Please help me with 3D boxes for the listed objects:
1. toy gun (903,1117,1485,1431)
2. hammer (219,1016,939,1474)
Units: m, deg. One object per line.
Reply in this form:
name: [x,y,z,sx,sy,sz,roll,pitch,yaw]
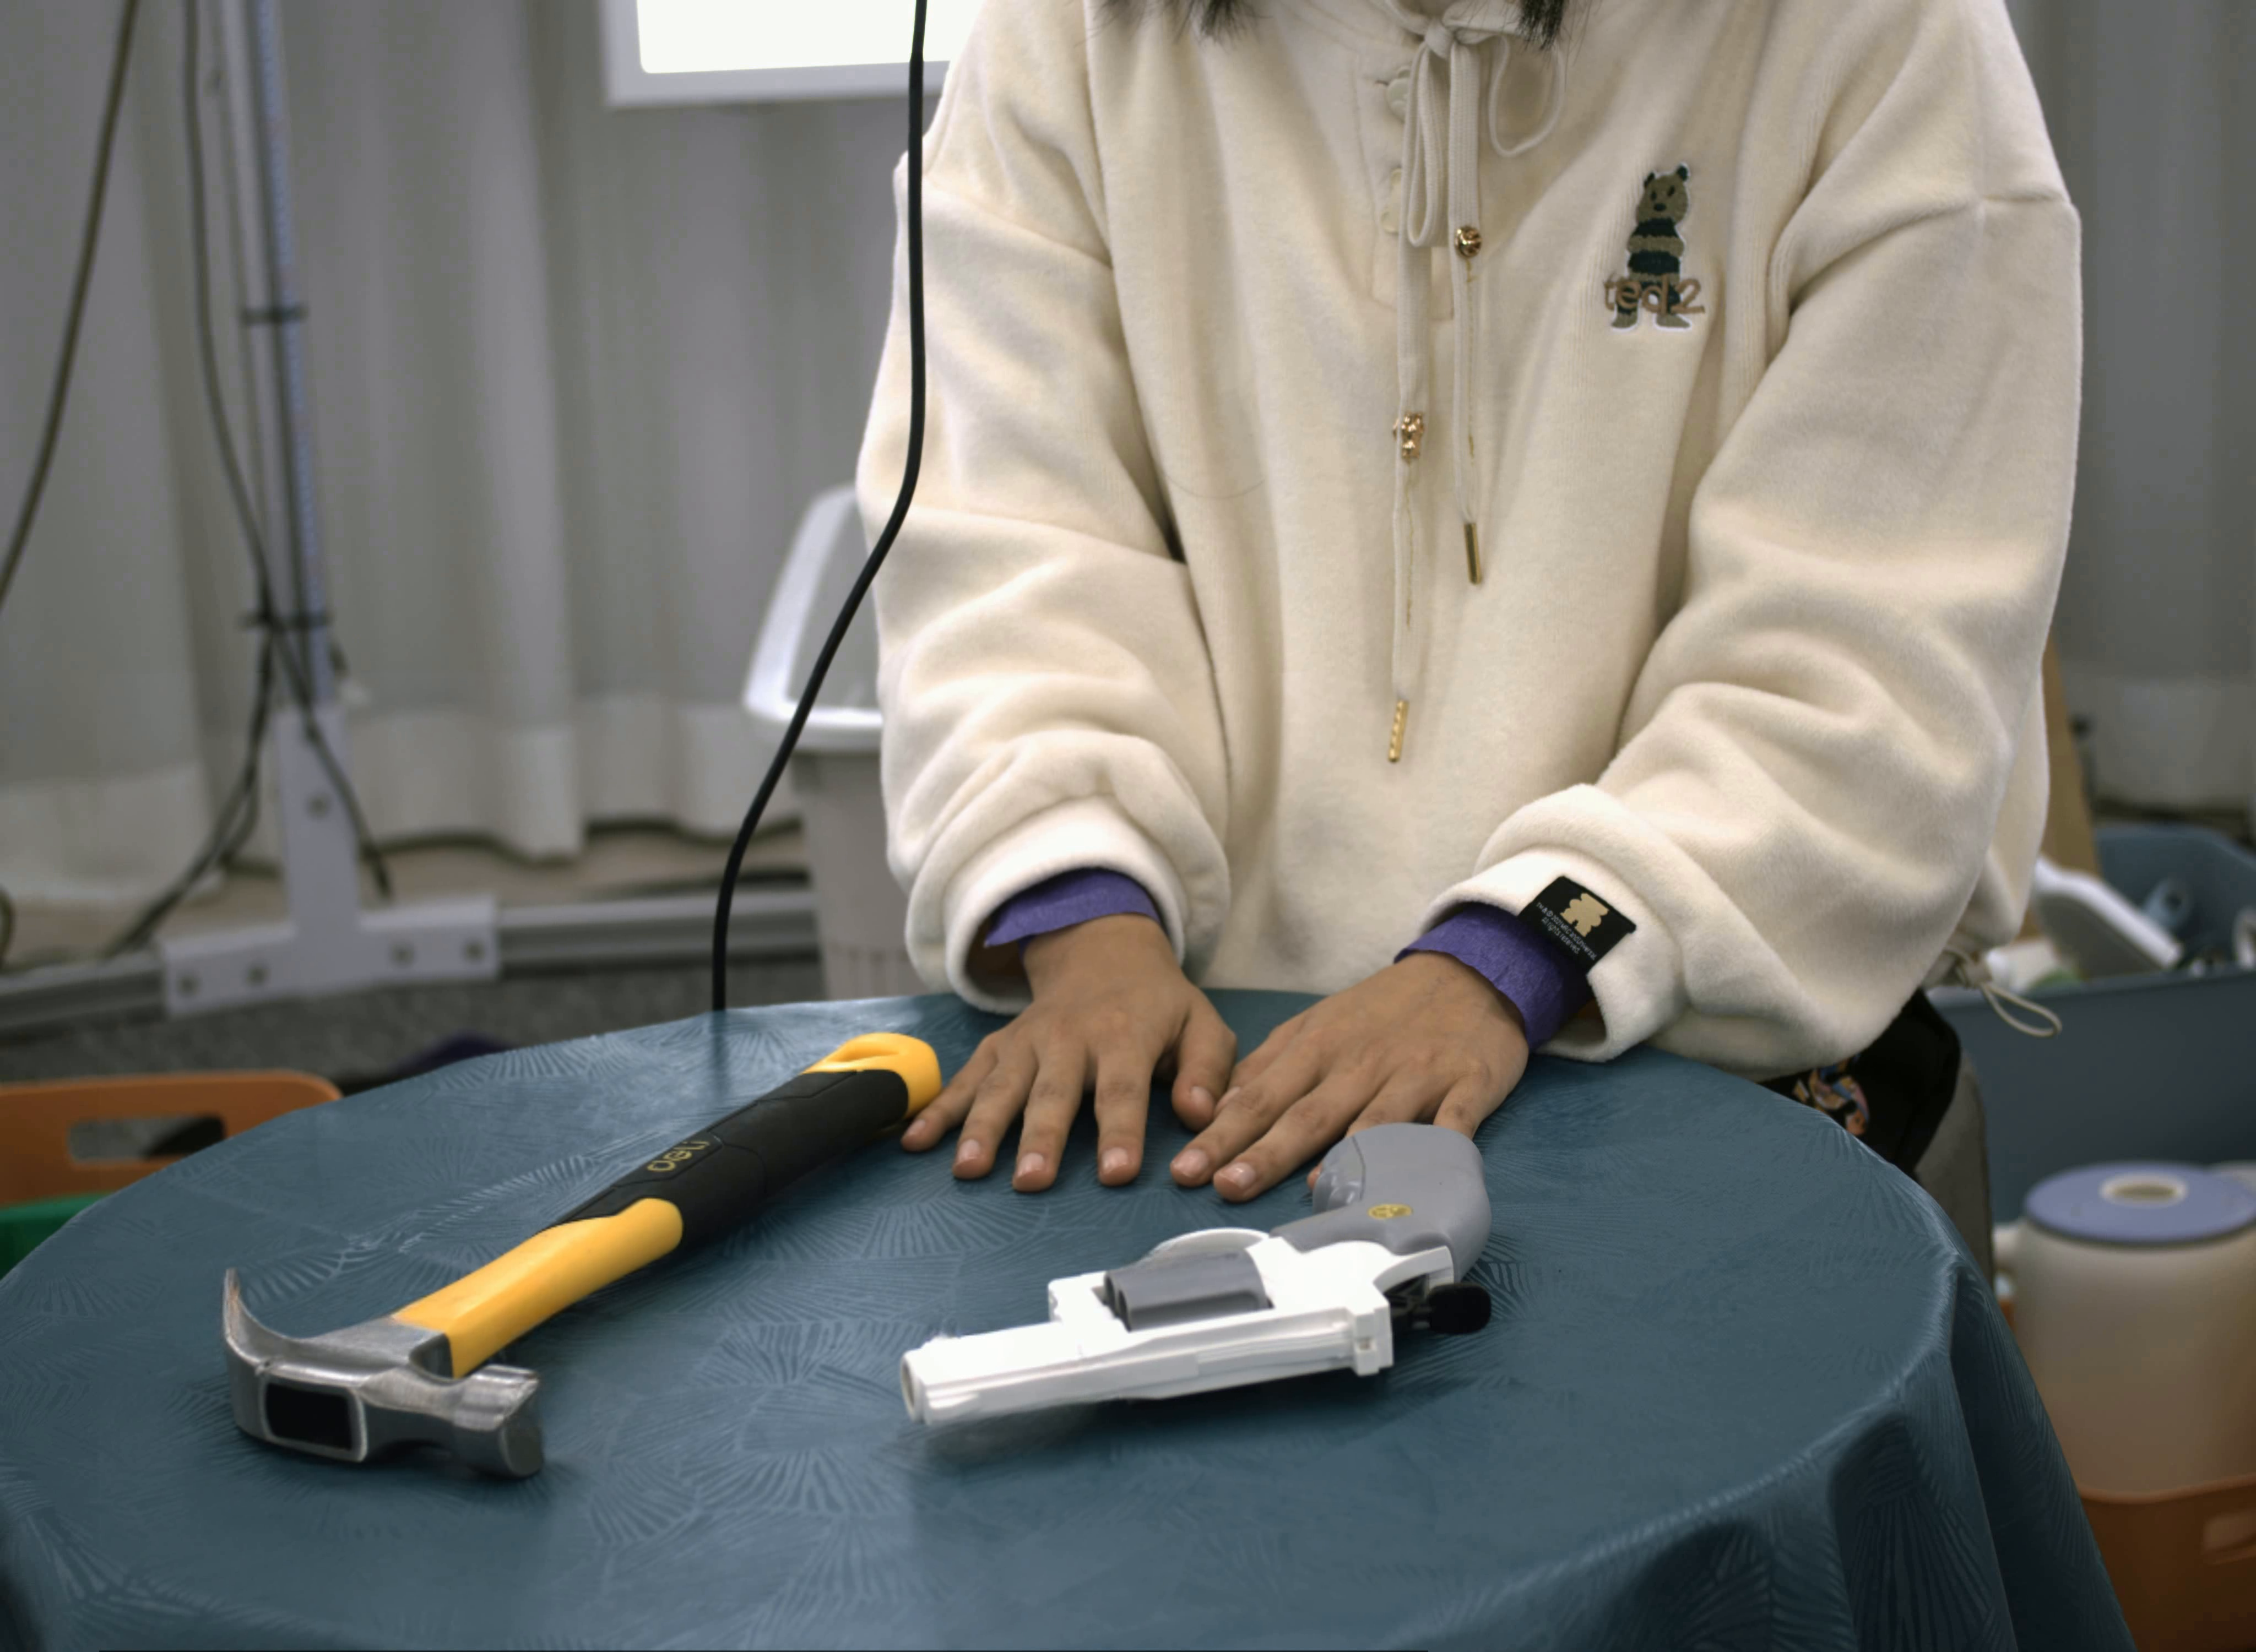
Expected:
toy gun: [0.024,0.130,1.574,0.208,0.038,0.143,-8,17,-17]
hammer: [-0.152,0.118,1.659,0.131,0.032,0.339,2,17,27]
